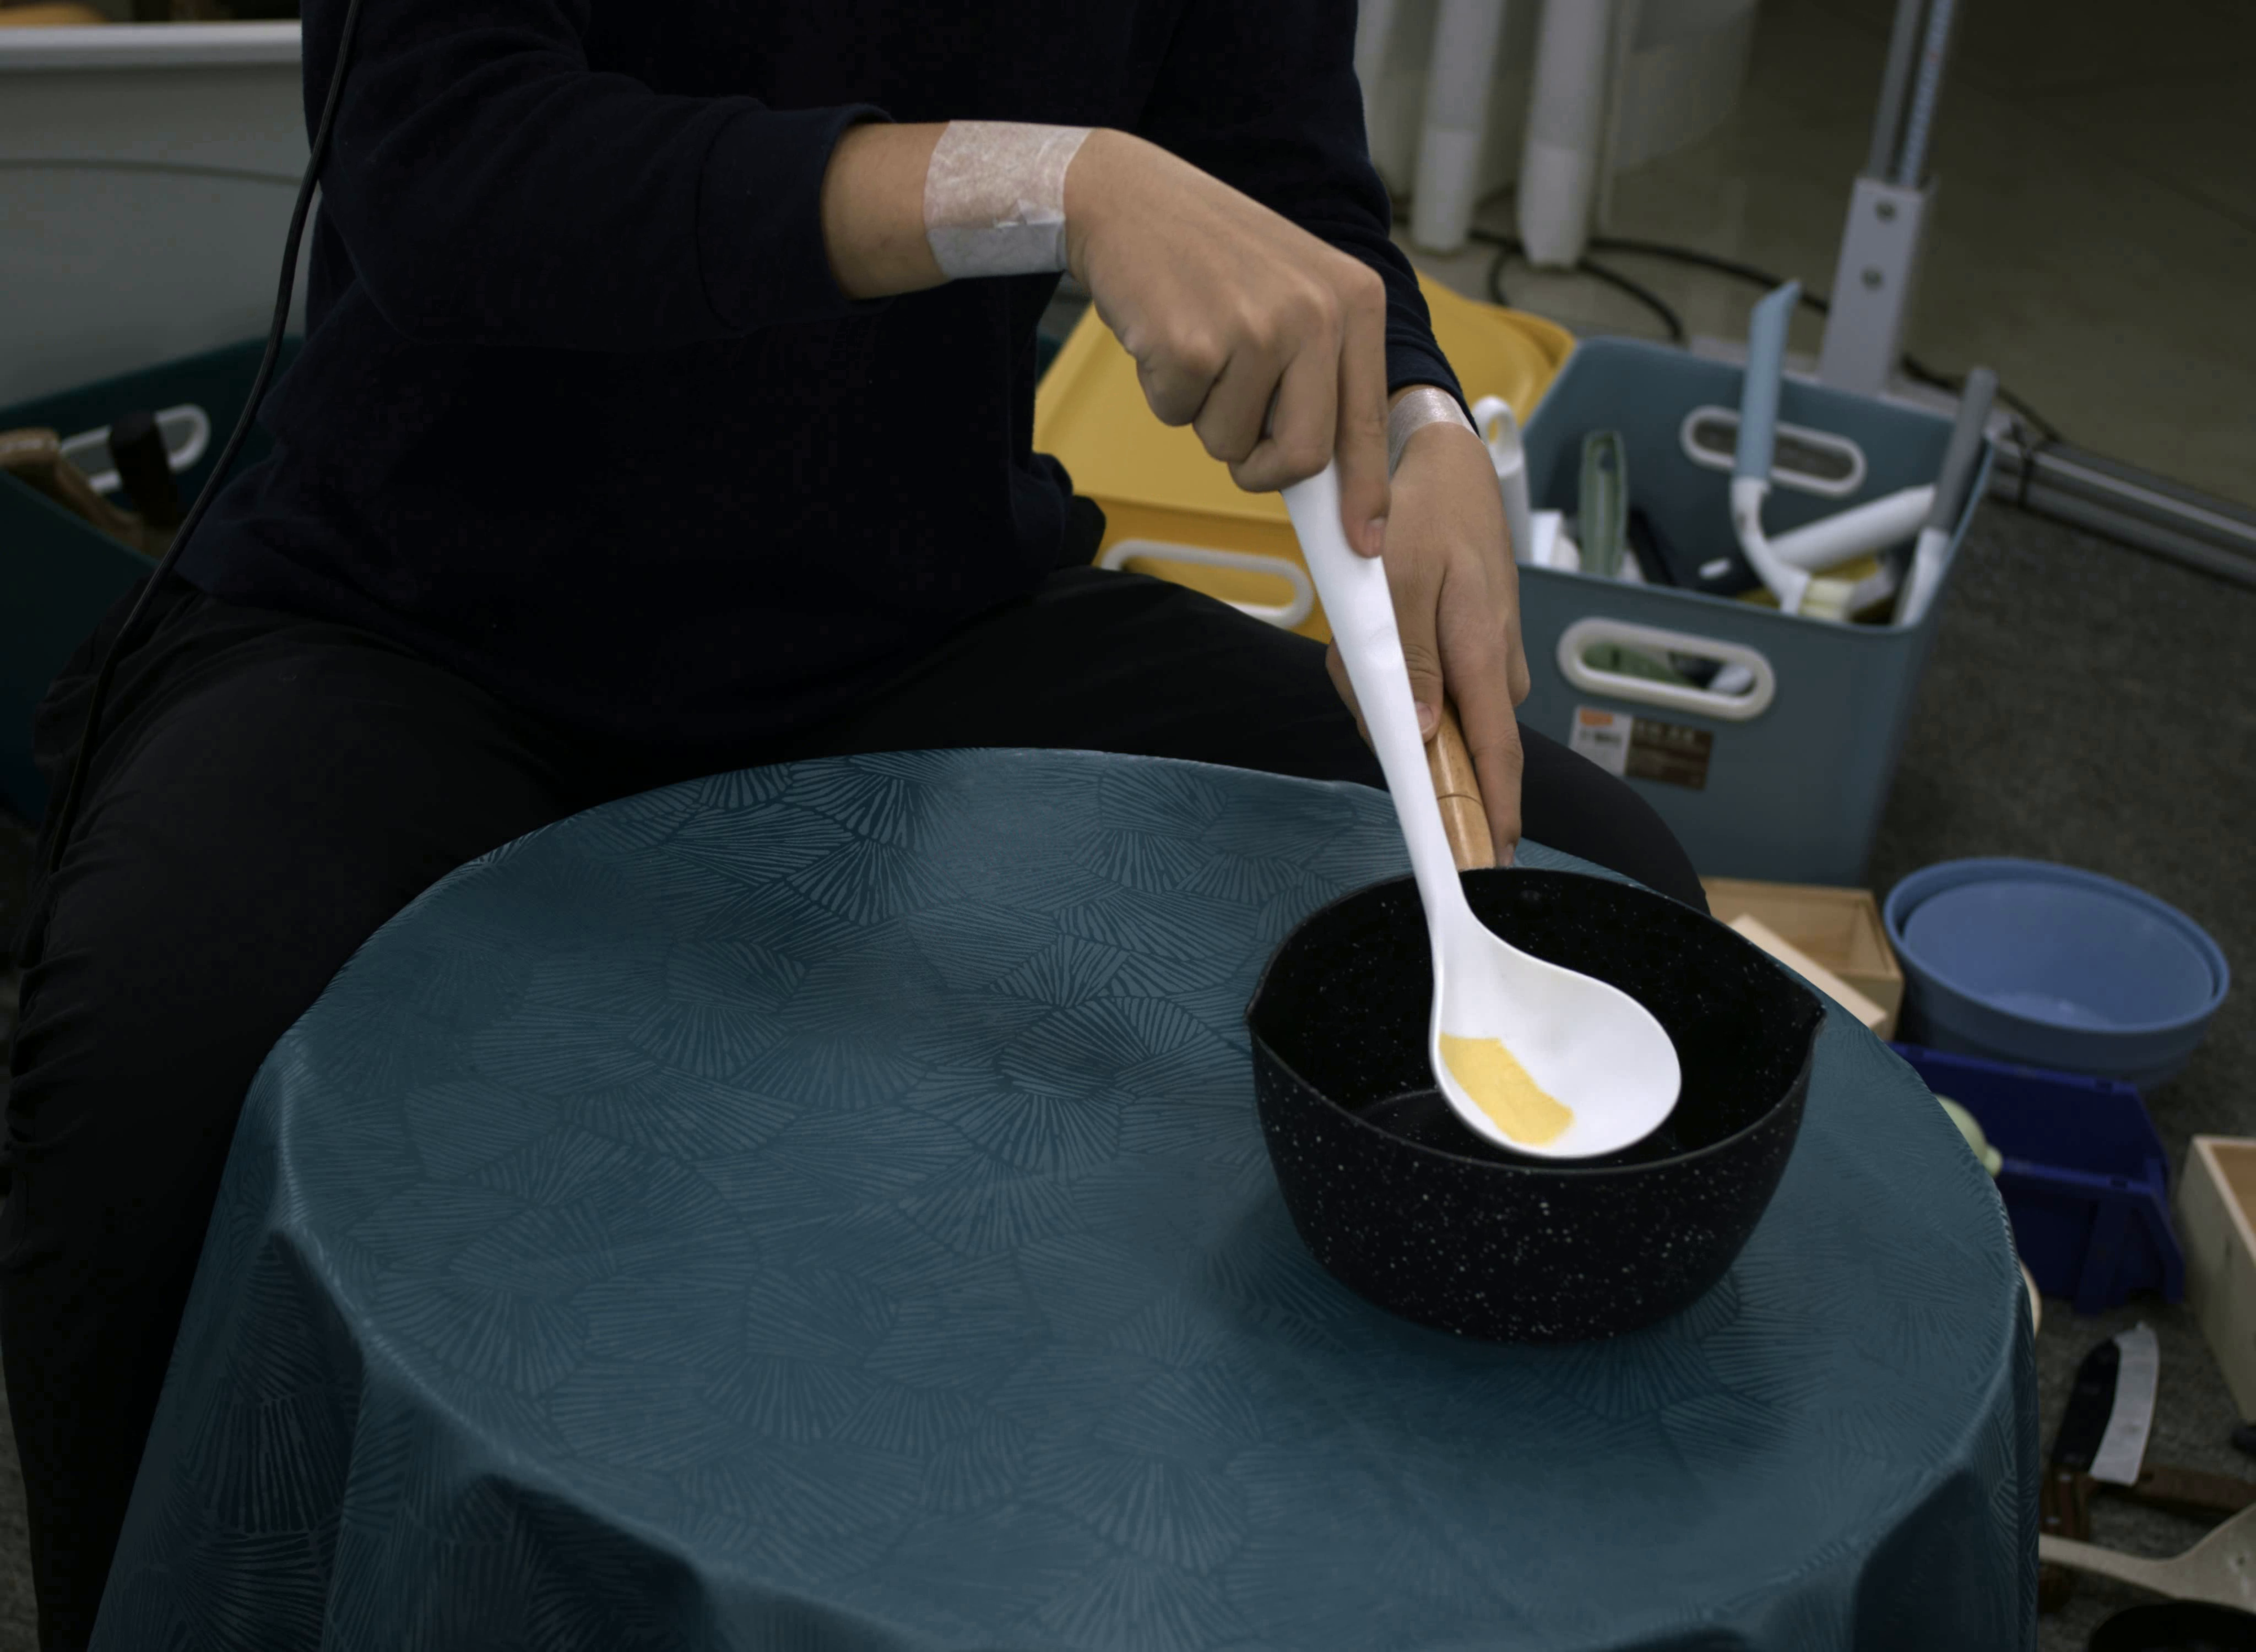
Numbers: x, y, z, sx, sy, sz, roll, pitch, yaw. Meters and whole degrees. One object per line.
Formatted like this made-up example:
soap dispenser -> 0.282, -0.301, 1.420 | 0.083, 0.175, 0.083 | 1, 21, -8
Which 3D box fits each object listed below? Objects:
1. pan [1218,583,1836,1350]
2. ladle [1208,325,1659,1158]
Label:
pan -> 0.119, 0.046, 1.841 | 0.206, 0.108, 0.346 | -3, 33, -9
ladle -> 0.093, -0.026, 1.761 | 0.090, 0.293, 0.070 | -19, 3, -23
